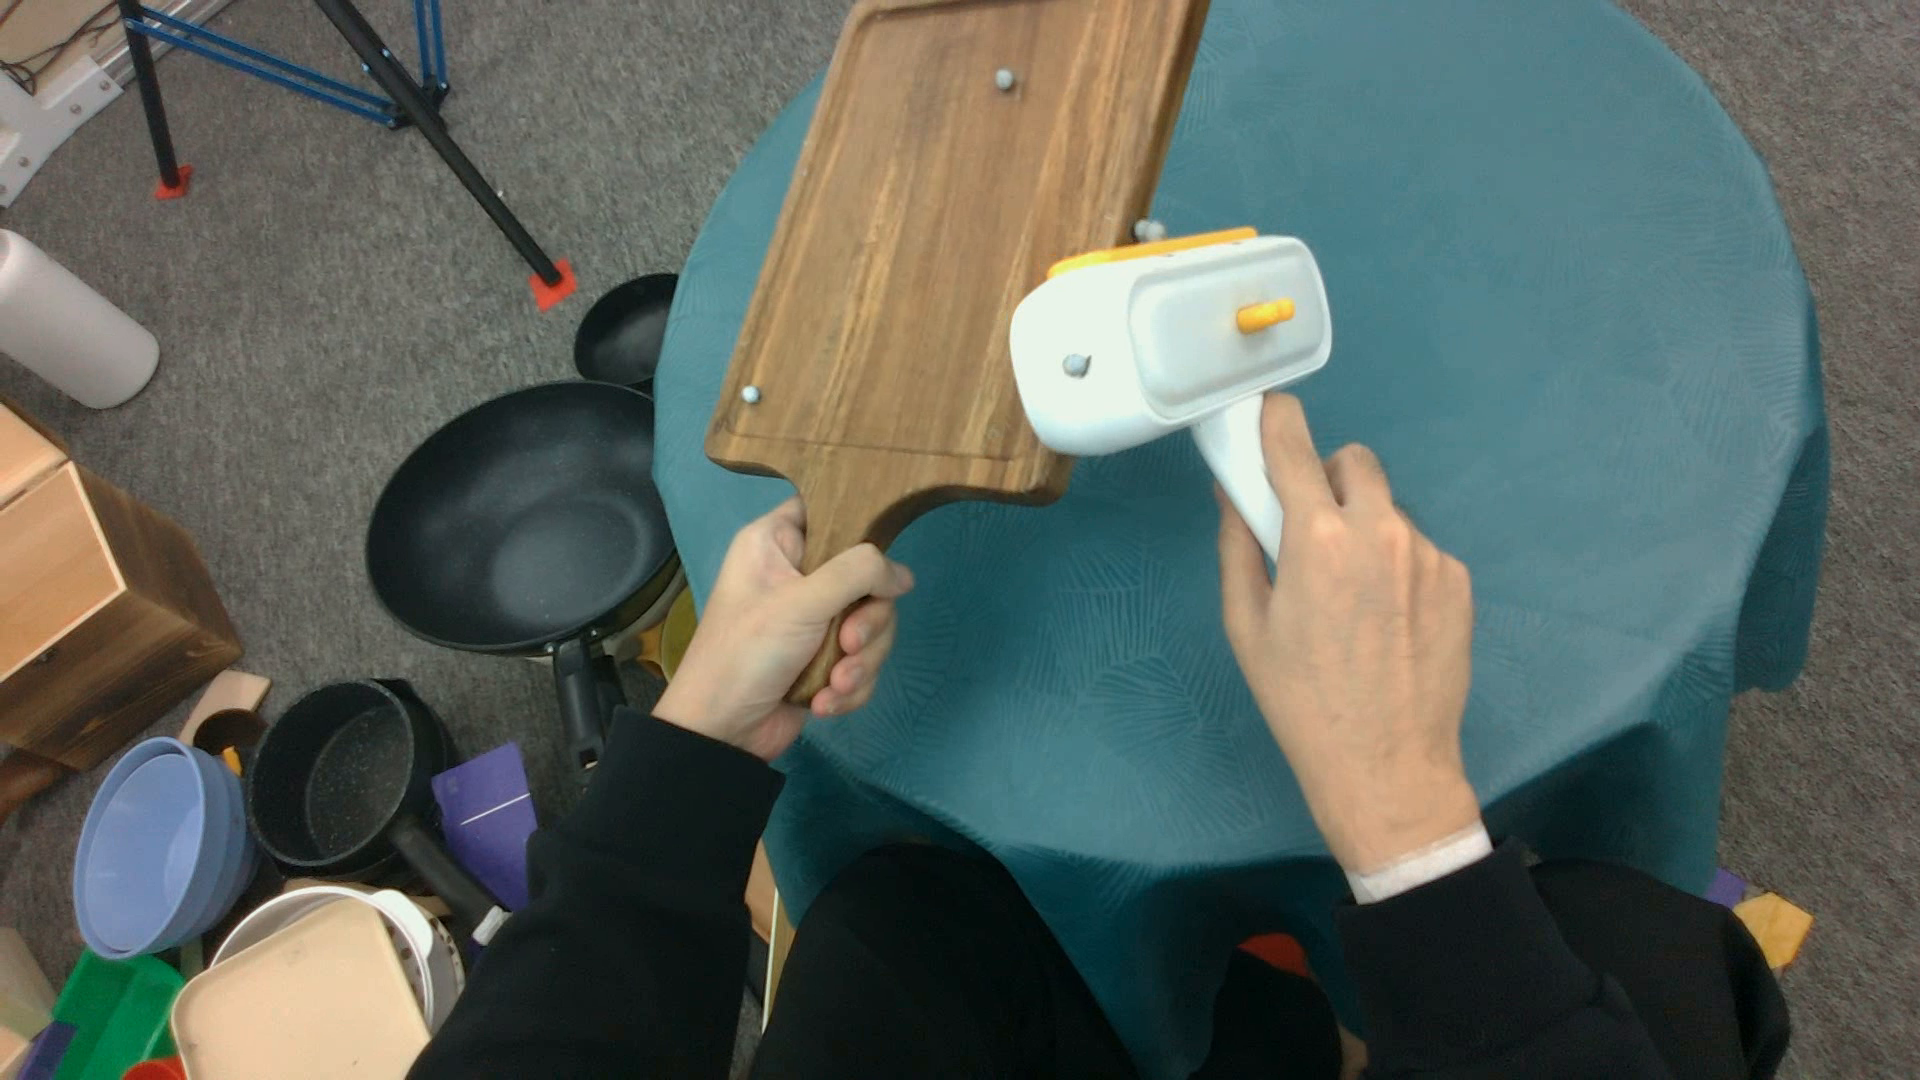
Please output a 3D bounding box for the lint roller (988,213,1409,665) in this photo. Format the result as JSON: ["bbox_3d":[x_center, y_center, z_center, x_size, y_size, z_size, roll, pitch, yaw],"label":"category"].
[{"bbox_3d":[0.111,-0.034,0.545,0.074,0.194,0.192,-24,94,36],"label":"lint roller"}]

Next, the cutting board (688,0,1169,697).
[{"bbox_3d":[-0.028,-0.104,0.611,0.200,0.023,0.353,6,75,35],"label":"cutting board"}]
